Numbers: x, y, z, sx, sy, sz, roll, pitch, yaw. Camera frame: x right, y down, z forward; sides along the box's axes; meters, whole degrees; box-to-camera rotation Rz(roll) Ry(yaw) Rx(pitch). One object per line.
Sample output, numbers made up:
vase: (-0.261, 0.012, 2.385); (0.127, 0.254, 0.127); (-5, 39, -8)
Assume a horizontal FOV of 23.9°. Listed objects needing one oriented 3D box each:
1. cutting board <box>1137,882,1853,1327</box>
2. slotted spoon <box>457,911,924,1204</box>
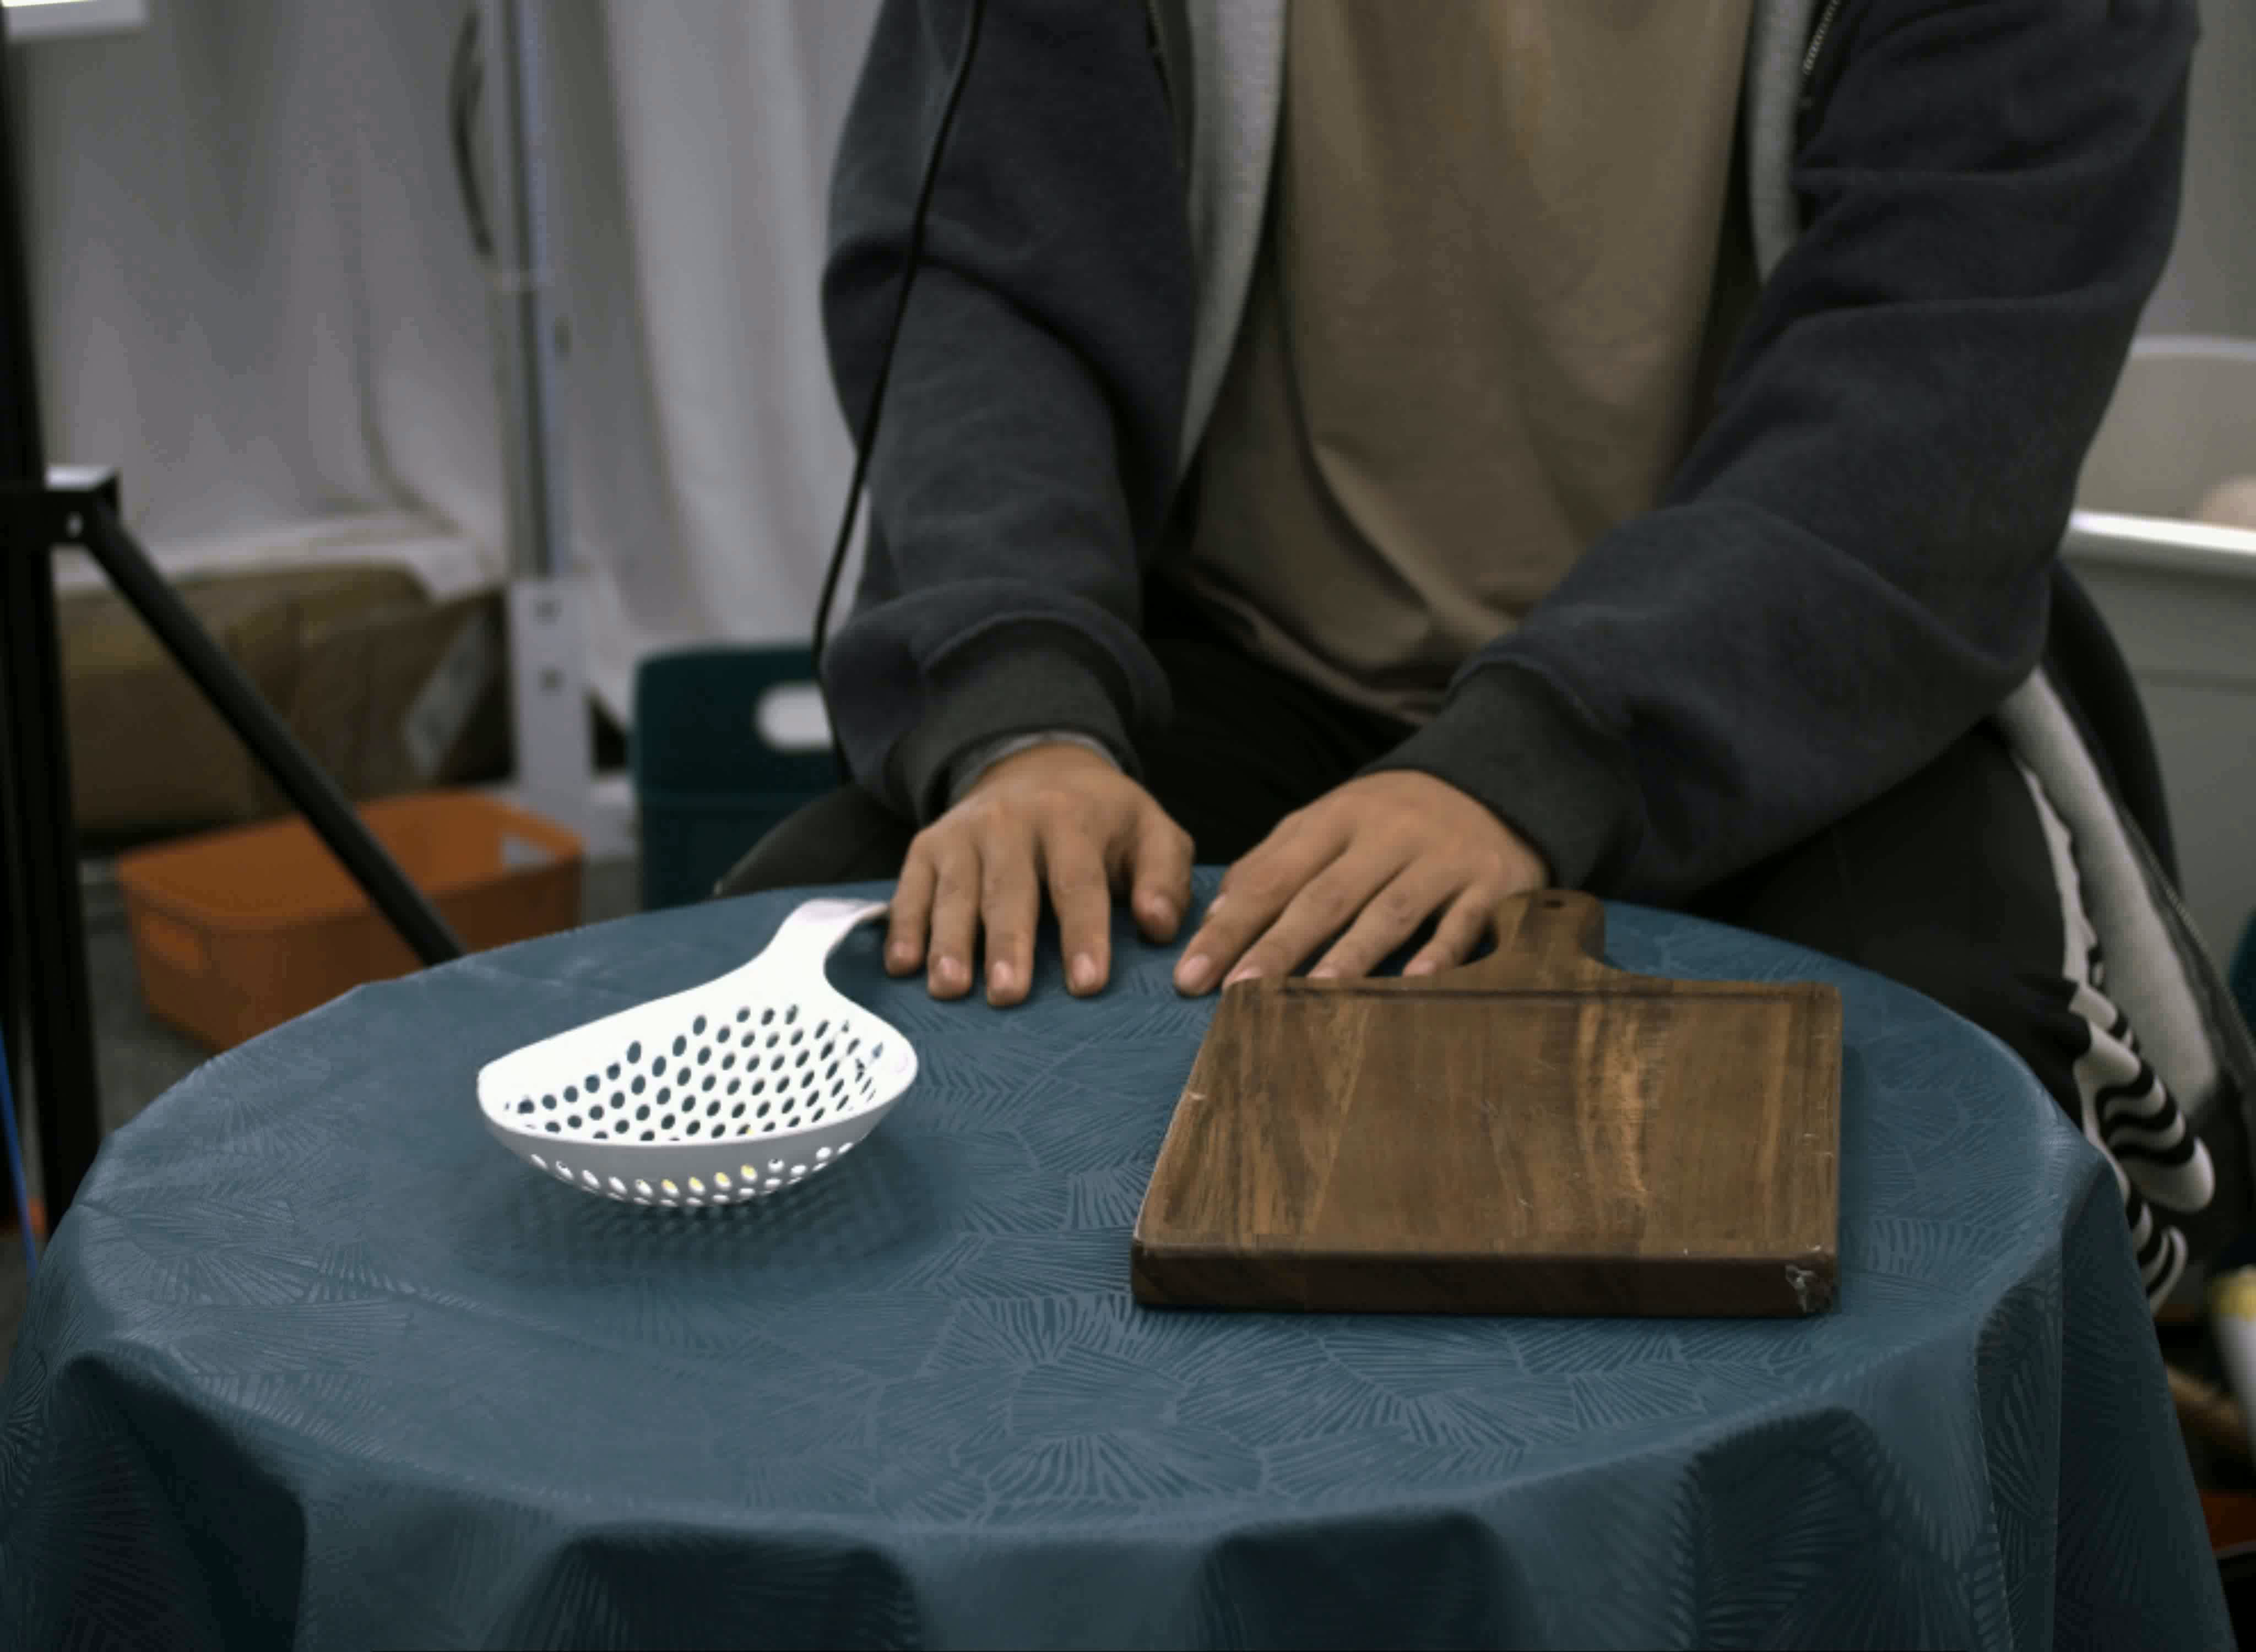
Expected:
cutting board: (0.119, 0.078, 1.609); (0.201, 0.023, 0.351); (0, 16, 8)
slotted spoon: (-0.113, 0.059, 1.676); (0.137, 0.050, 0.347); (-3, 16, 8)
